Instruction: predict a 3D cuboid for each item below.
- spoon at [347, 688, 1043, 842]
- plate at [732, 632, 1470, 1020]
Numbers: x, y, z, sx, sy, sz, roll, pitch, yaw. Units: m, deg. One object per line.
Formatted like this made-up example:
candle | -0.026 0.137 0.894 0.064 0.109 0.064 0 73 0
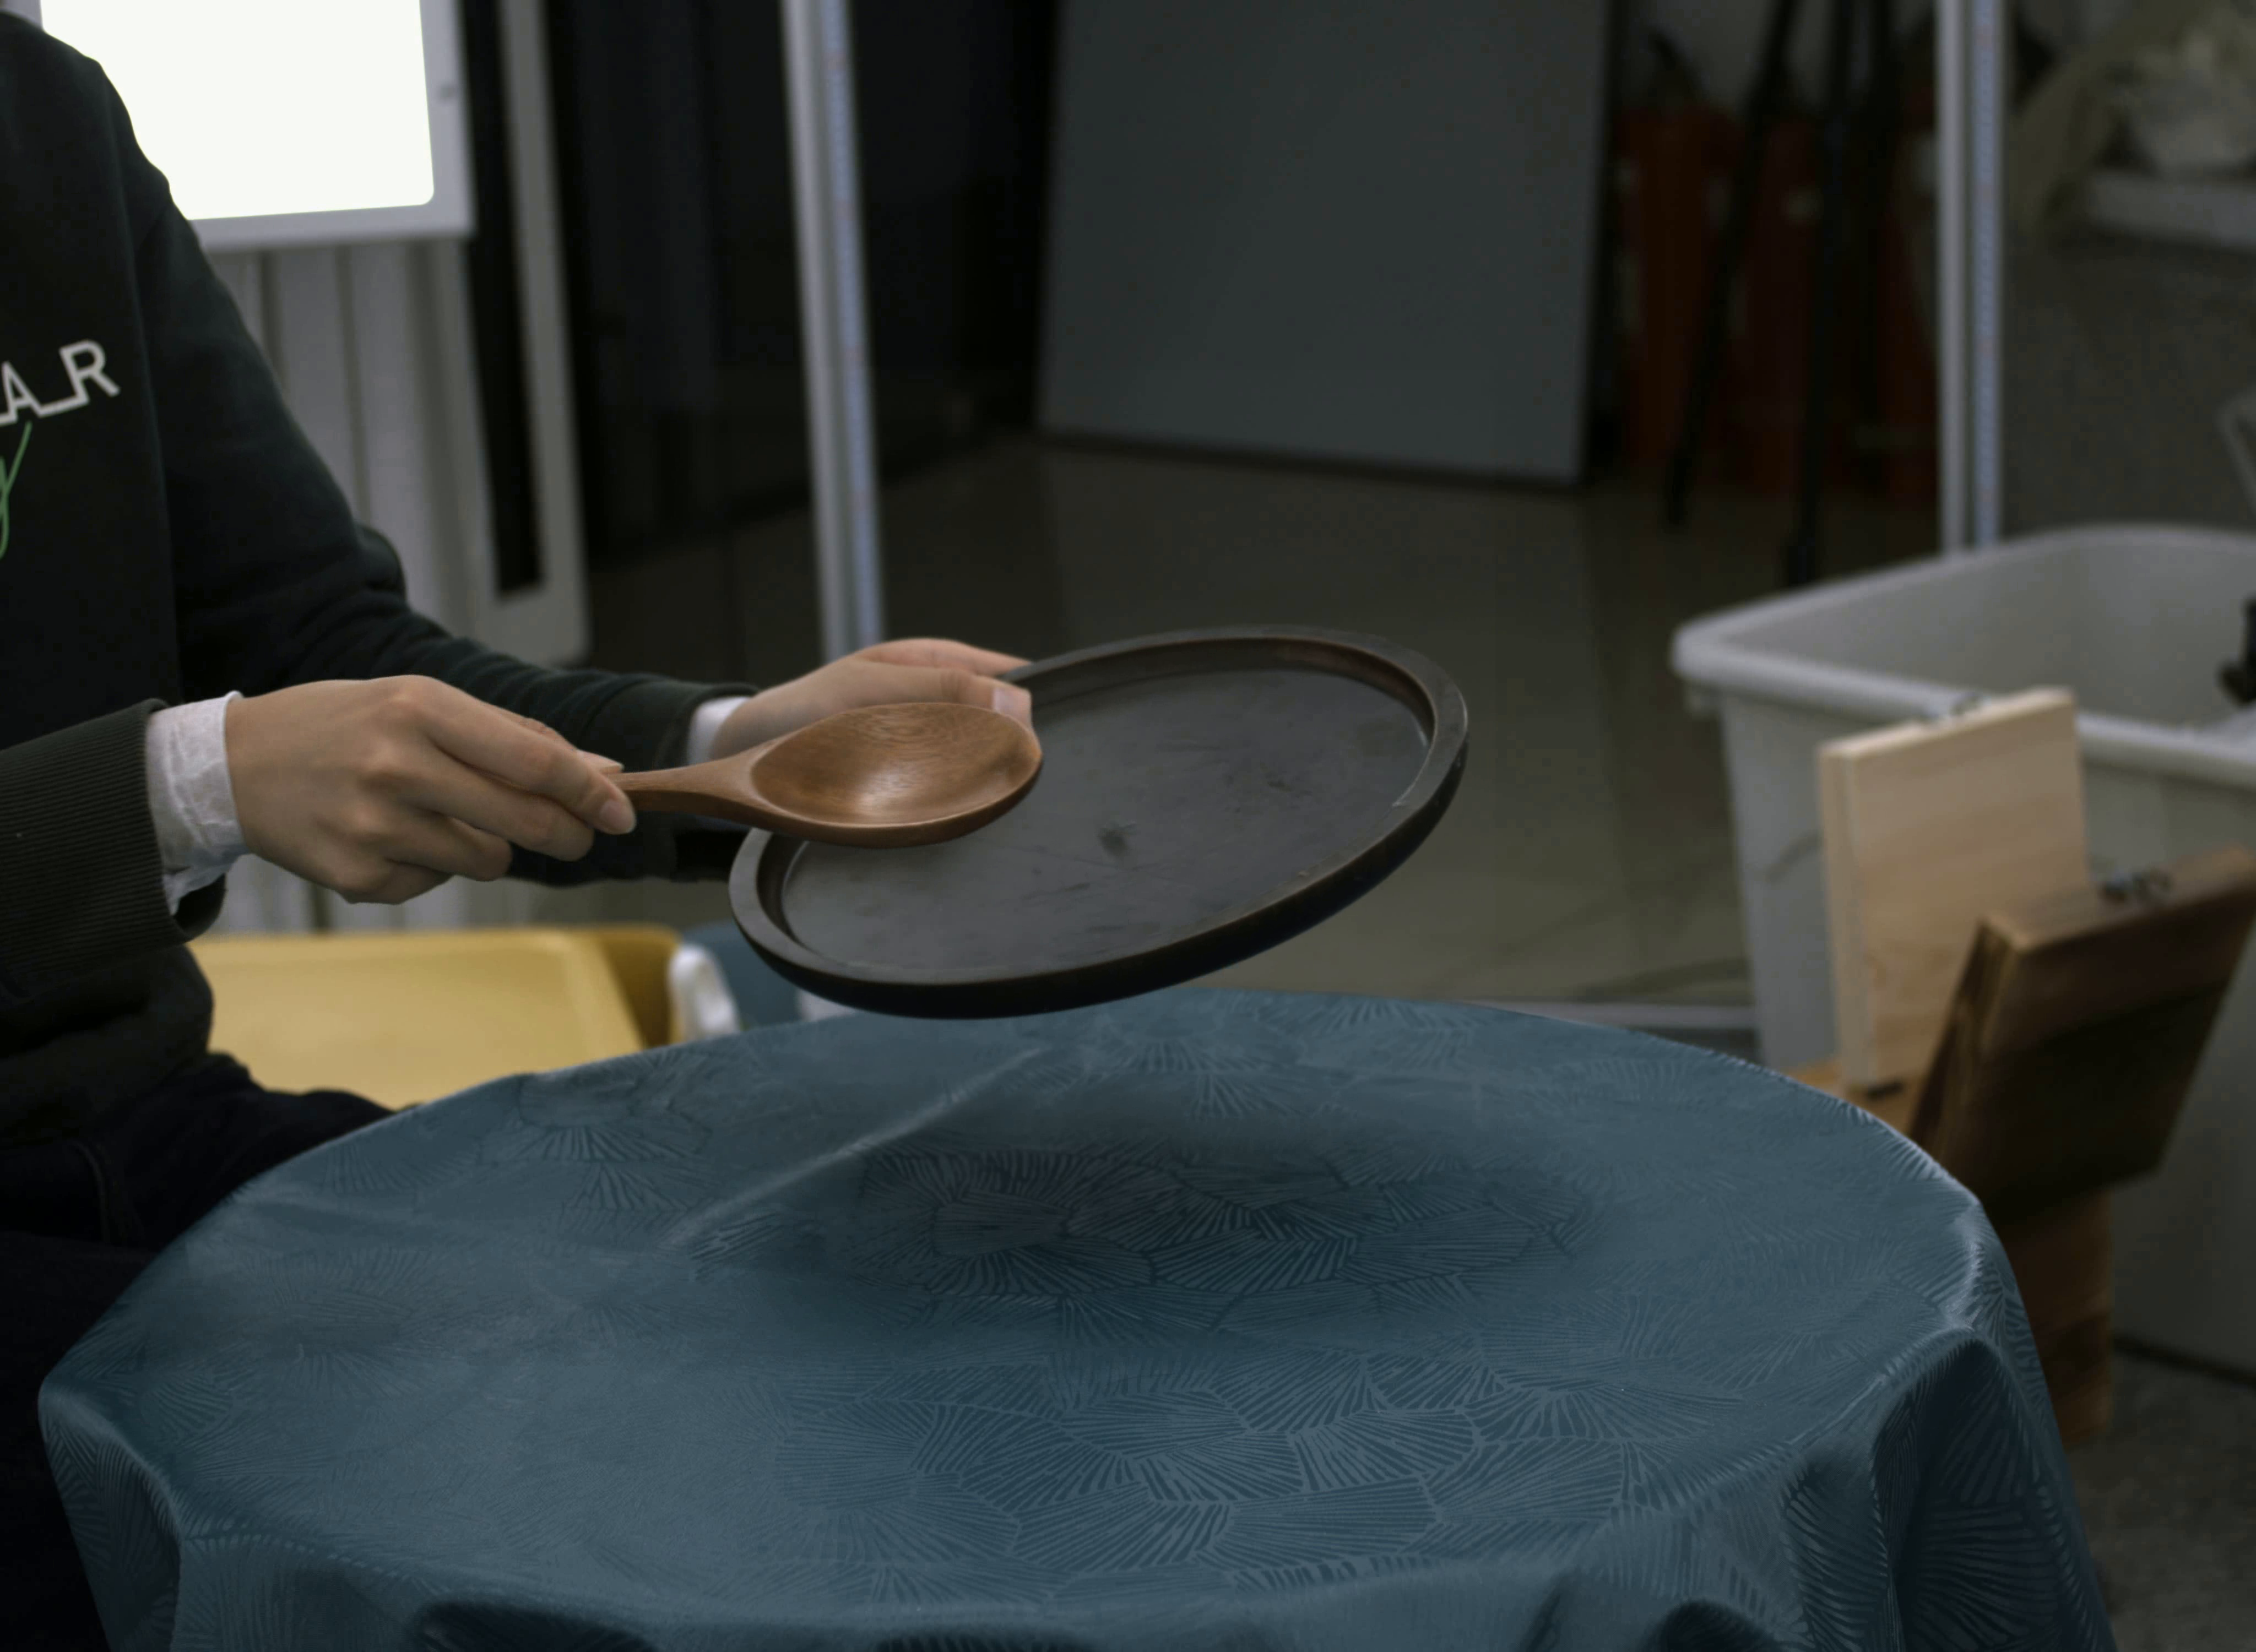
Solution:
spoon | -0.131 -0.013 1.643 0.214 0.017 0.076 -3 33 6
plate | -0.008 -0.002 1.776 0.252 0.029 0.255 -13 23 5
